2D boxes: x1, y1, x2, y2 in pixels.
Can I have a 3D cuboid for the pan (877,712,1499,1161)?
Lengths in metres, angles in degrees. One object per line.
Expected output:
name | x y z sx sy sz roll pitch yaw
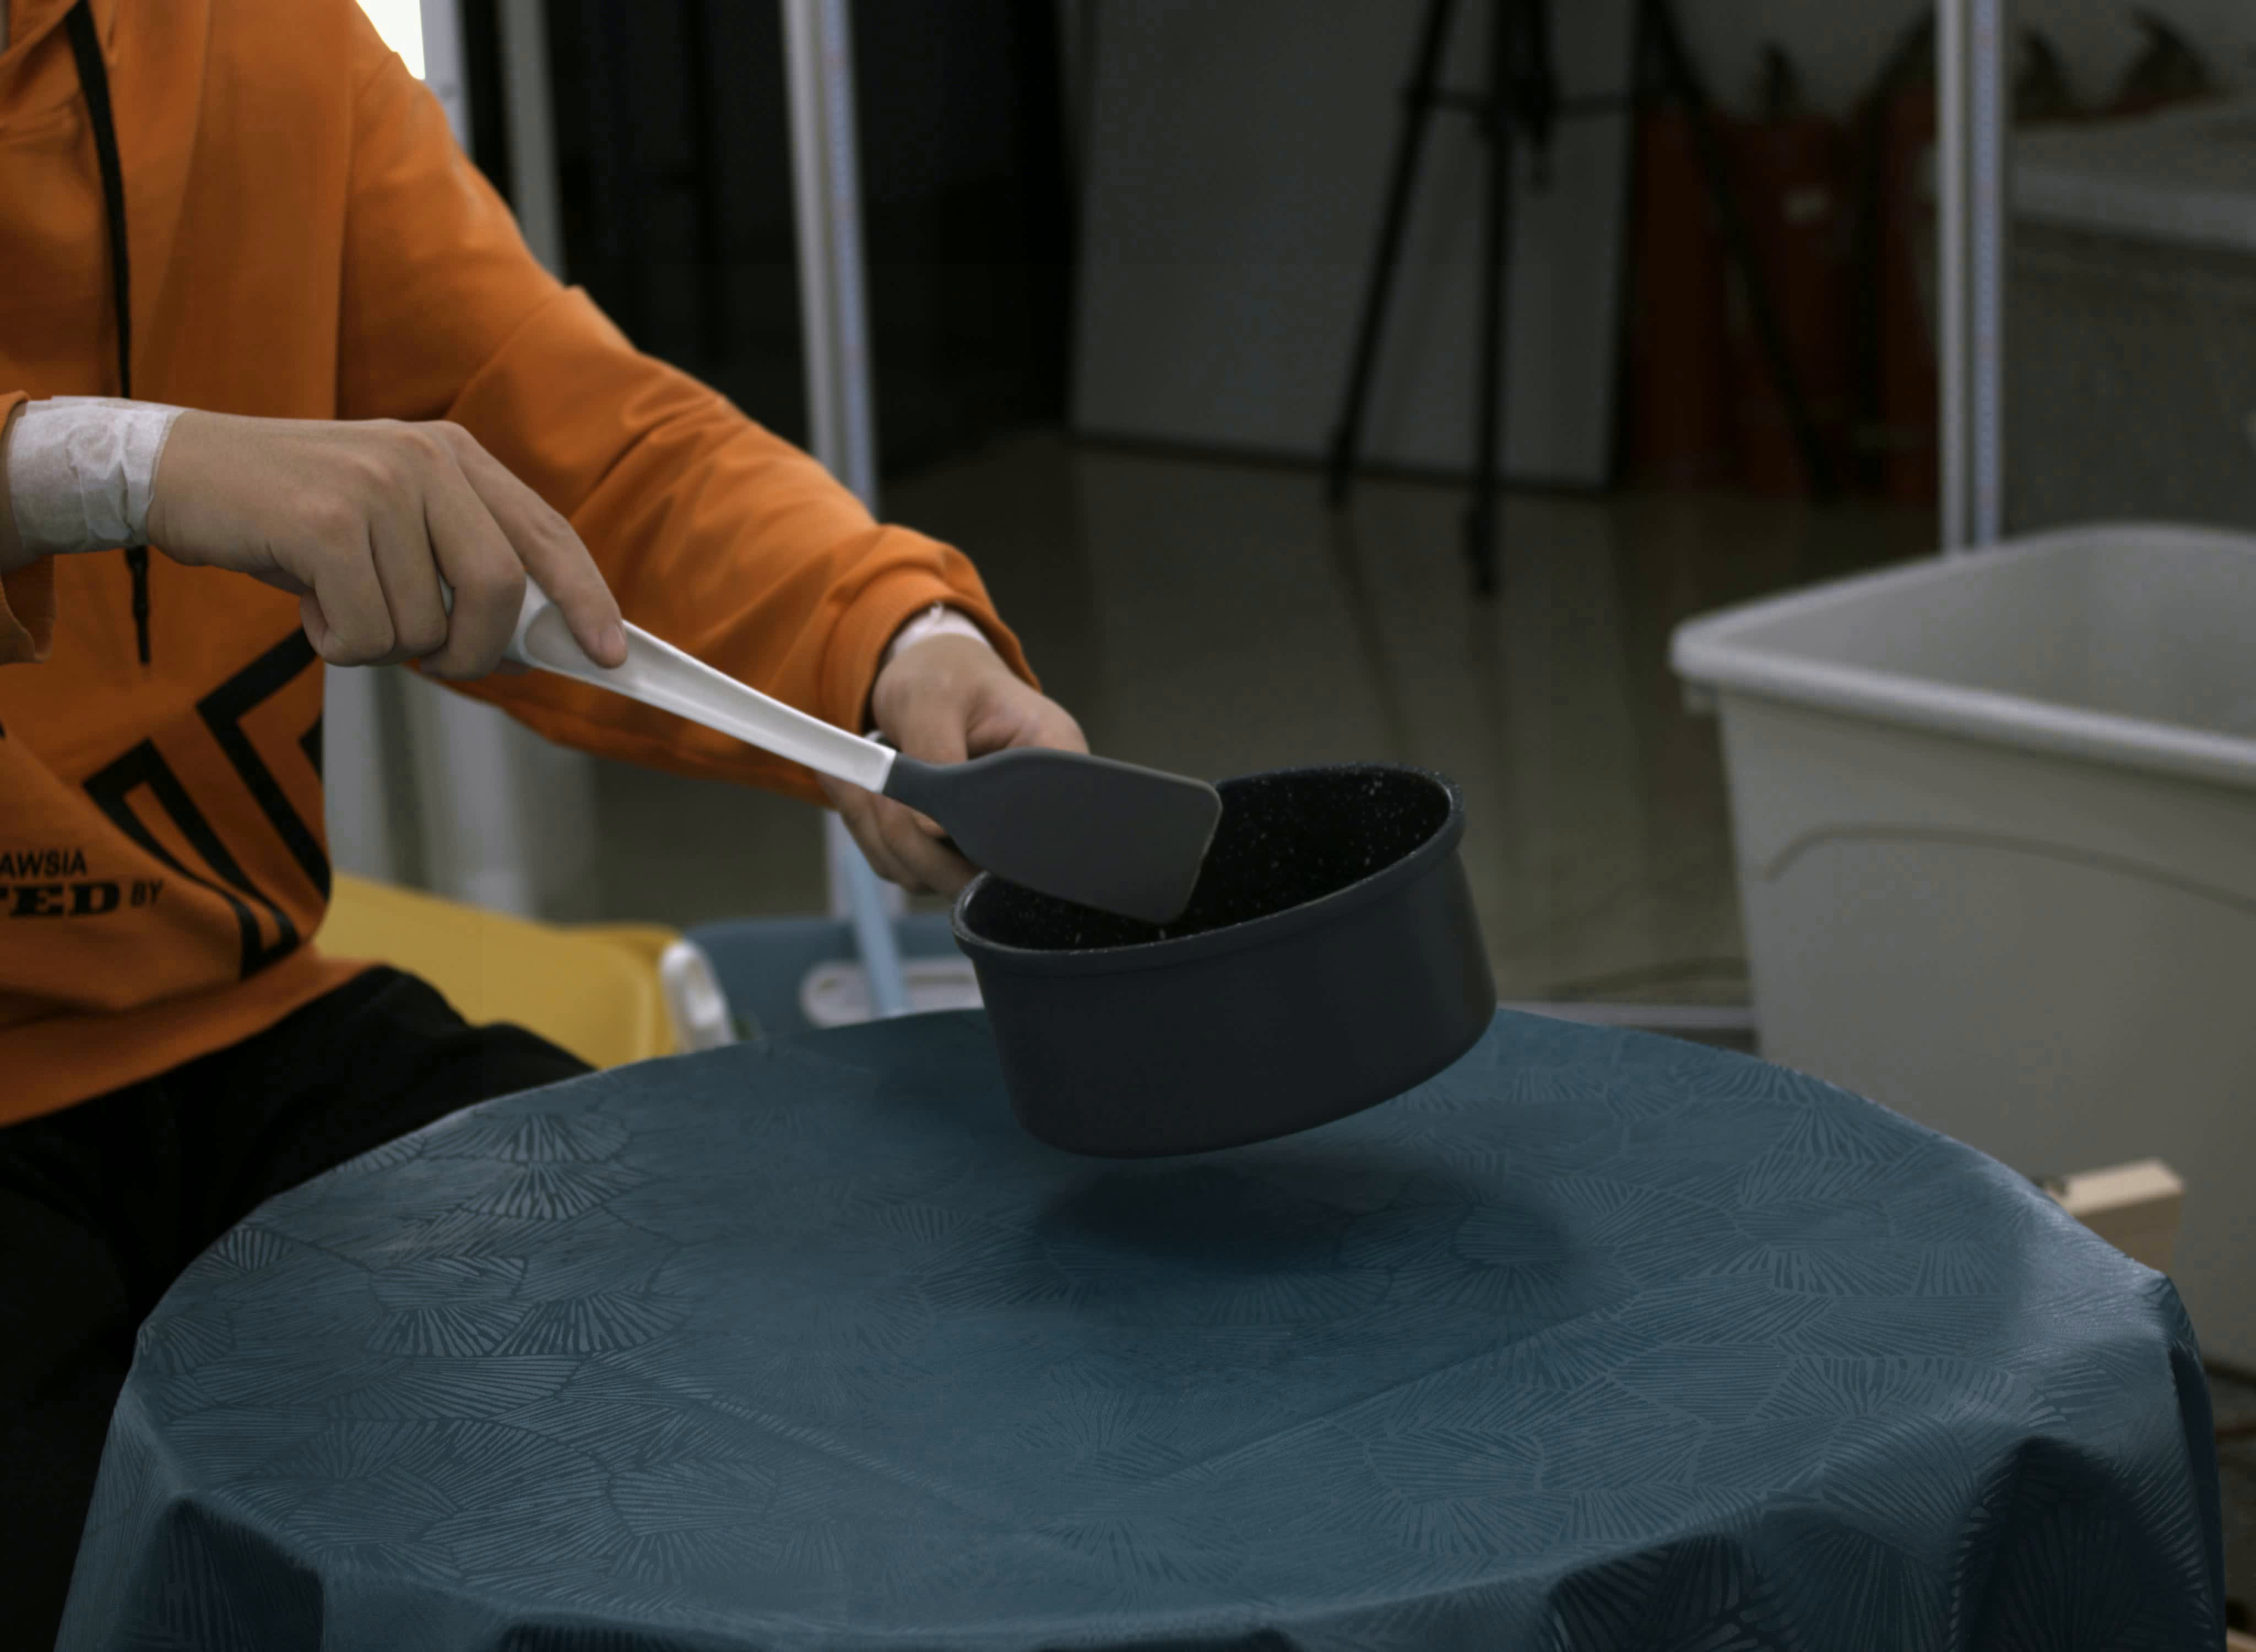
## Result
pan | -0.002 0.028 1.806 0.169 0.087 0.332 -20 17 -22

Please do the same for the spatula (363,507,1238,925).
spatula | -0.105 -0.035 1.719 0.285 0.059 0.032 21 16 1
